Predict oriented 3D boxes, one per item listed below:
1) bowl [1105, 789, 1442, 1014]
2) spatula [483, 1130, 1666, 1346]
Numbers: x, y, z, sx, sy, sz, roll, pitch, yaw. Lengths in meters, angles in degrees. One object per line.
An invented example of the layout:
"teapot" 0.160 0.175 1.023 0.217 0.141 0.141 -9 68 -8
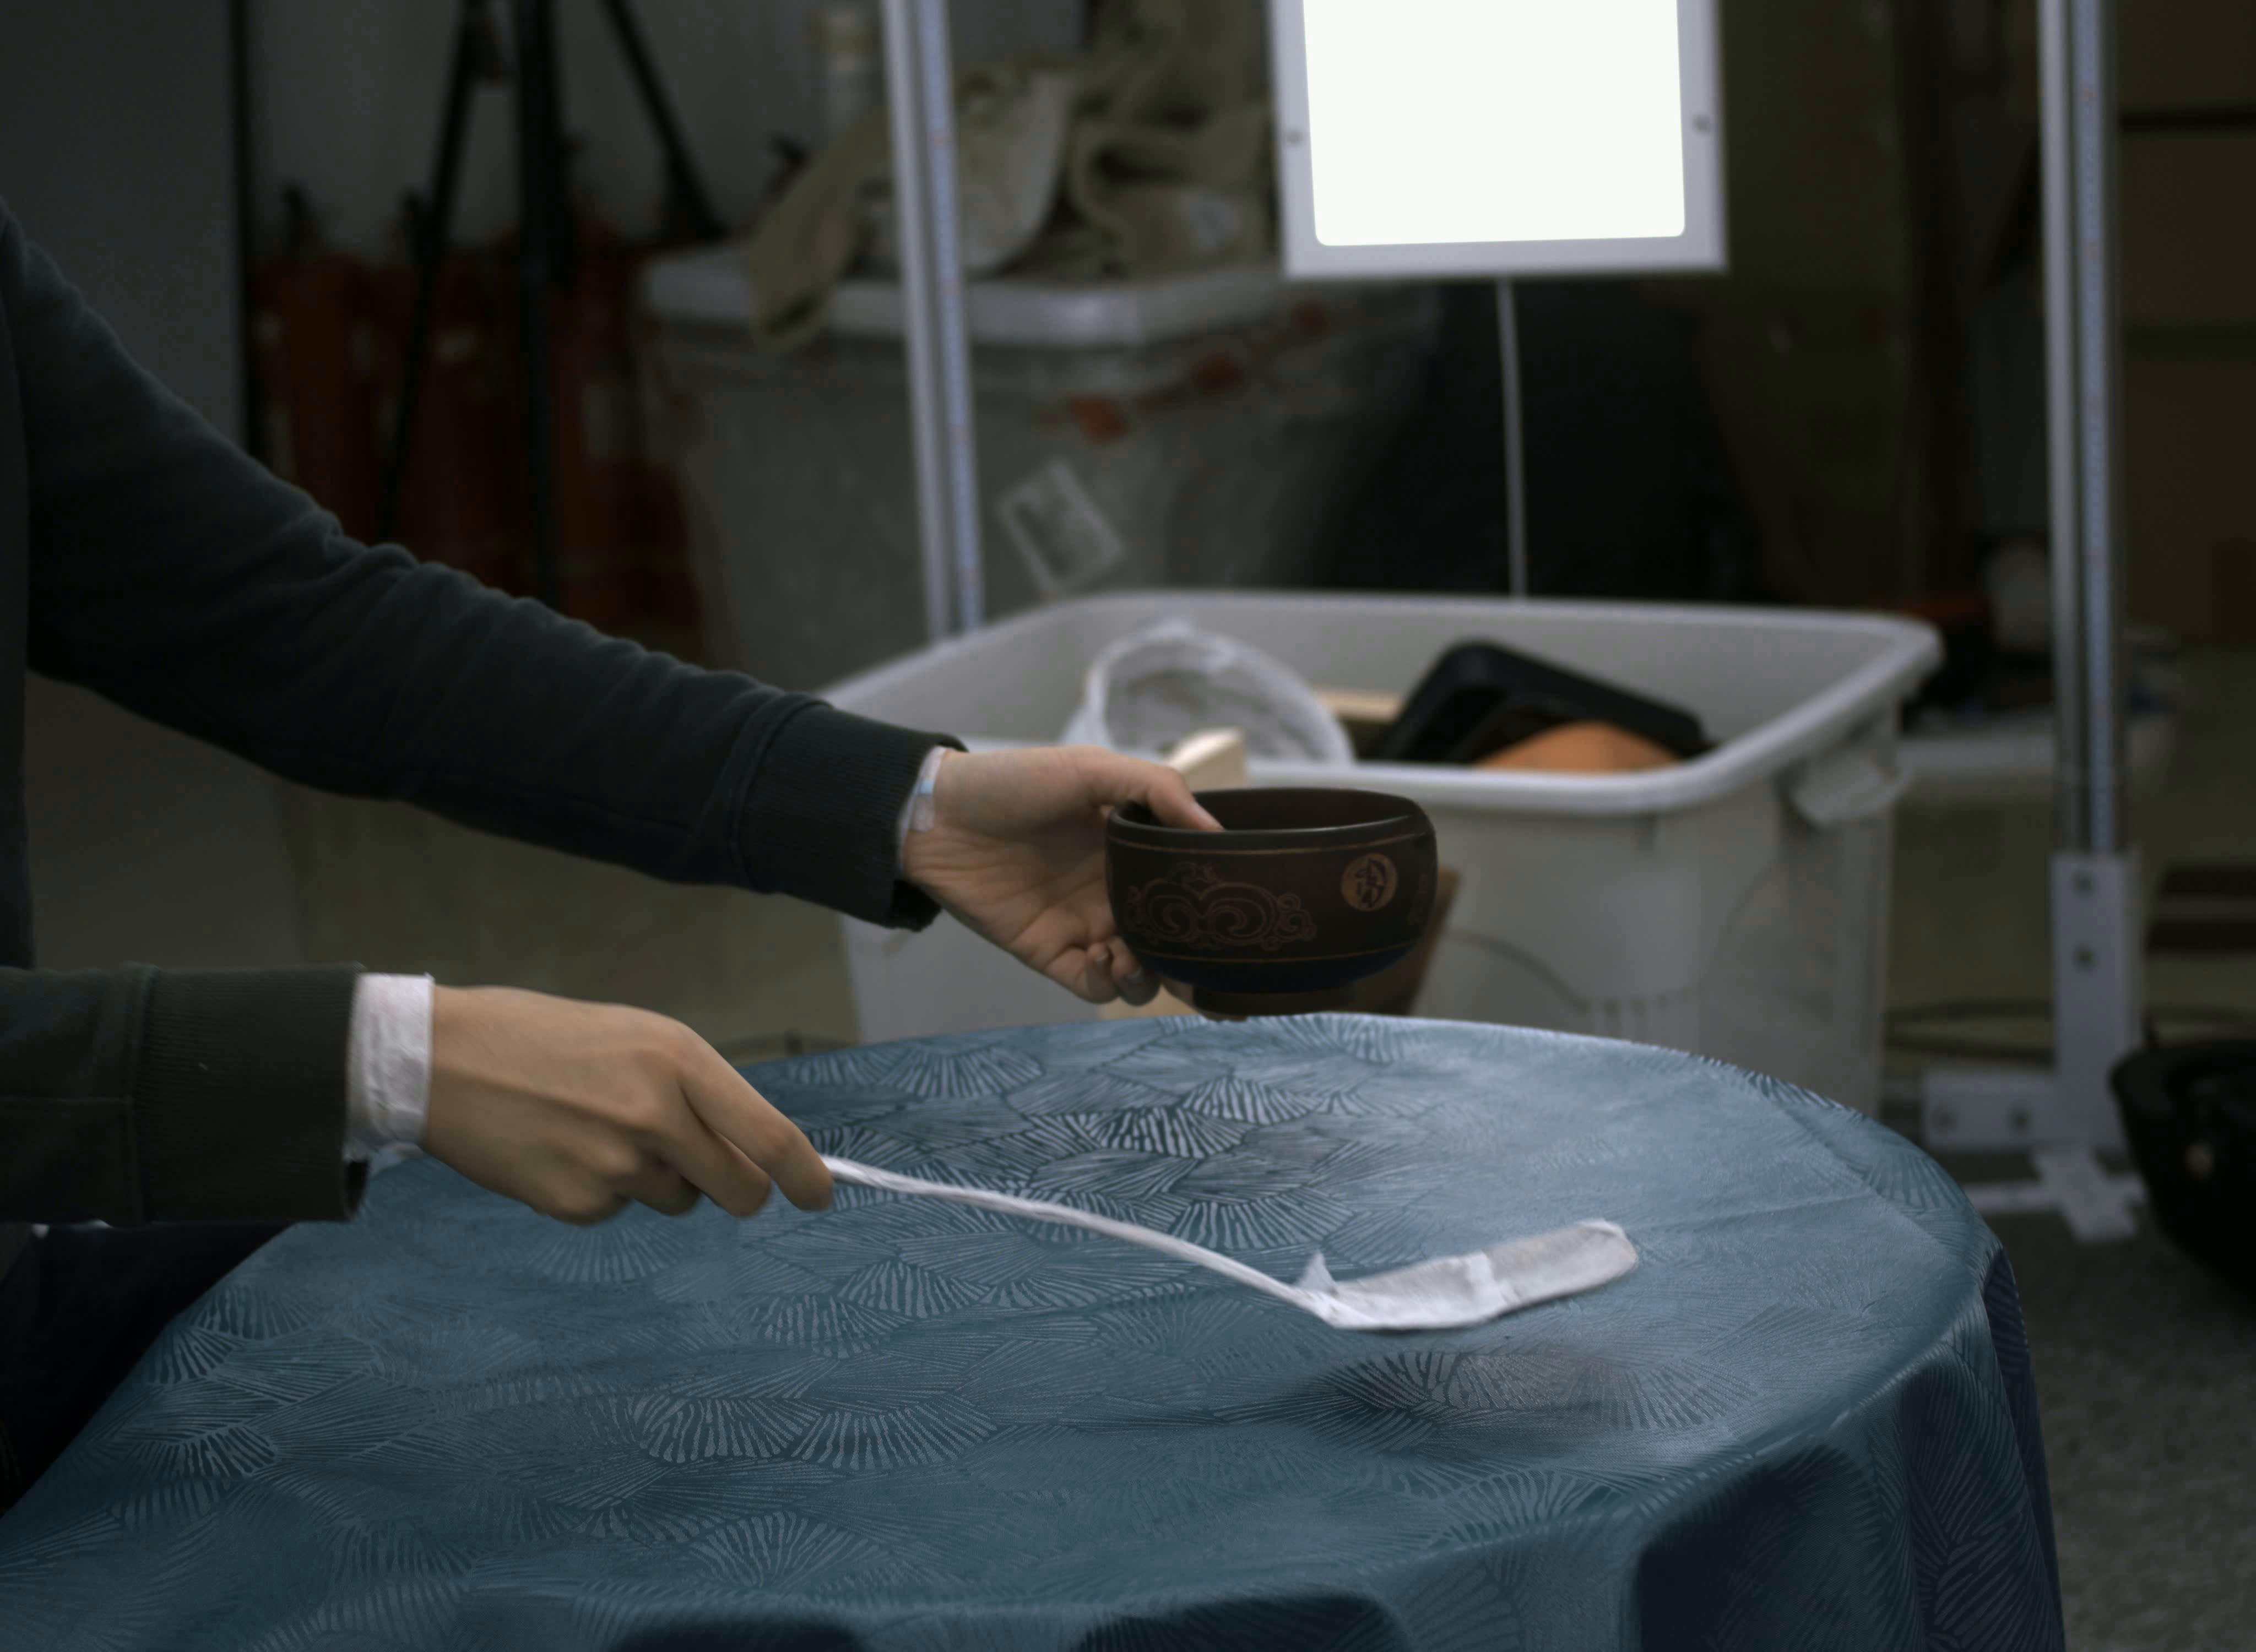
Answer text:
"bowl" 0.052 0.027 1.907 0.117 0.070 0.118 -4 6 -1
"spatula" -0.019 0.116 1.680 0.365 0.045 0.098 11 9 5
